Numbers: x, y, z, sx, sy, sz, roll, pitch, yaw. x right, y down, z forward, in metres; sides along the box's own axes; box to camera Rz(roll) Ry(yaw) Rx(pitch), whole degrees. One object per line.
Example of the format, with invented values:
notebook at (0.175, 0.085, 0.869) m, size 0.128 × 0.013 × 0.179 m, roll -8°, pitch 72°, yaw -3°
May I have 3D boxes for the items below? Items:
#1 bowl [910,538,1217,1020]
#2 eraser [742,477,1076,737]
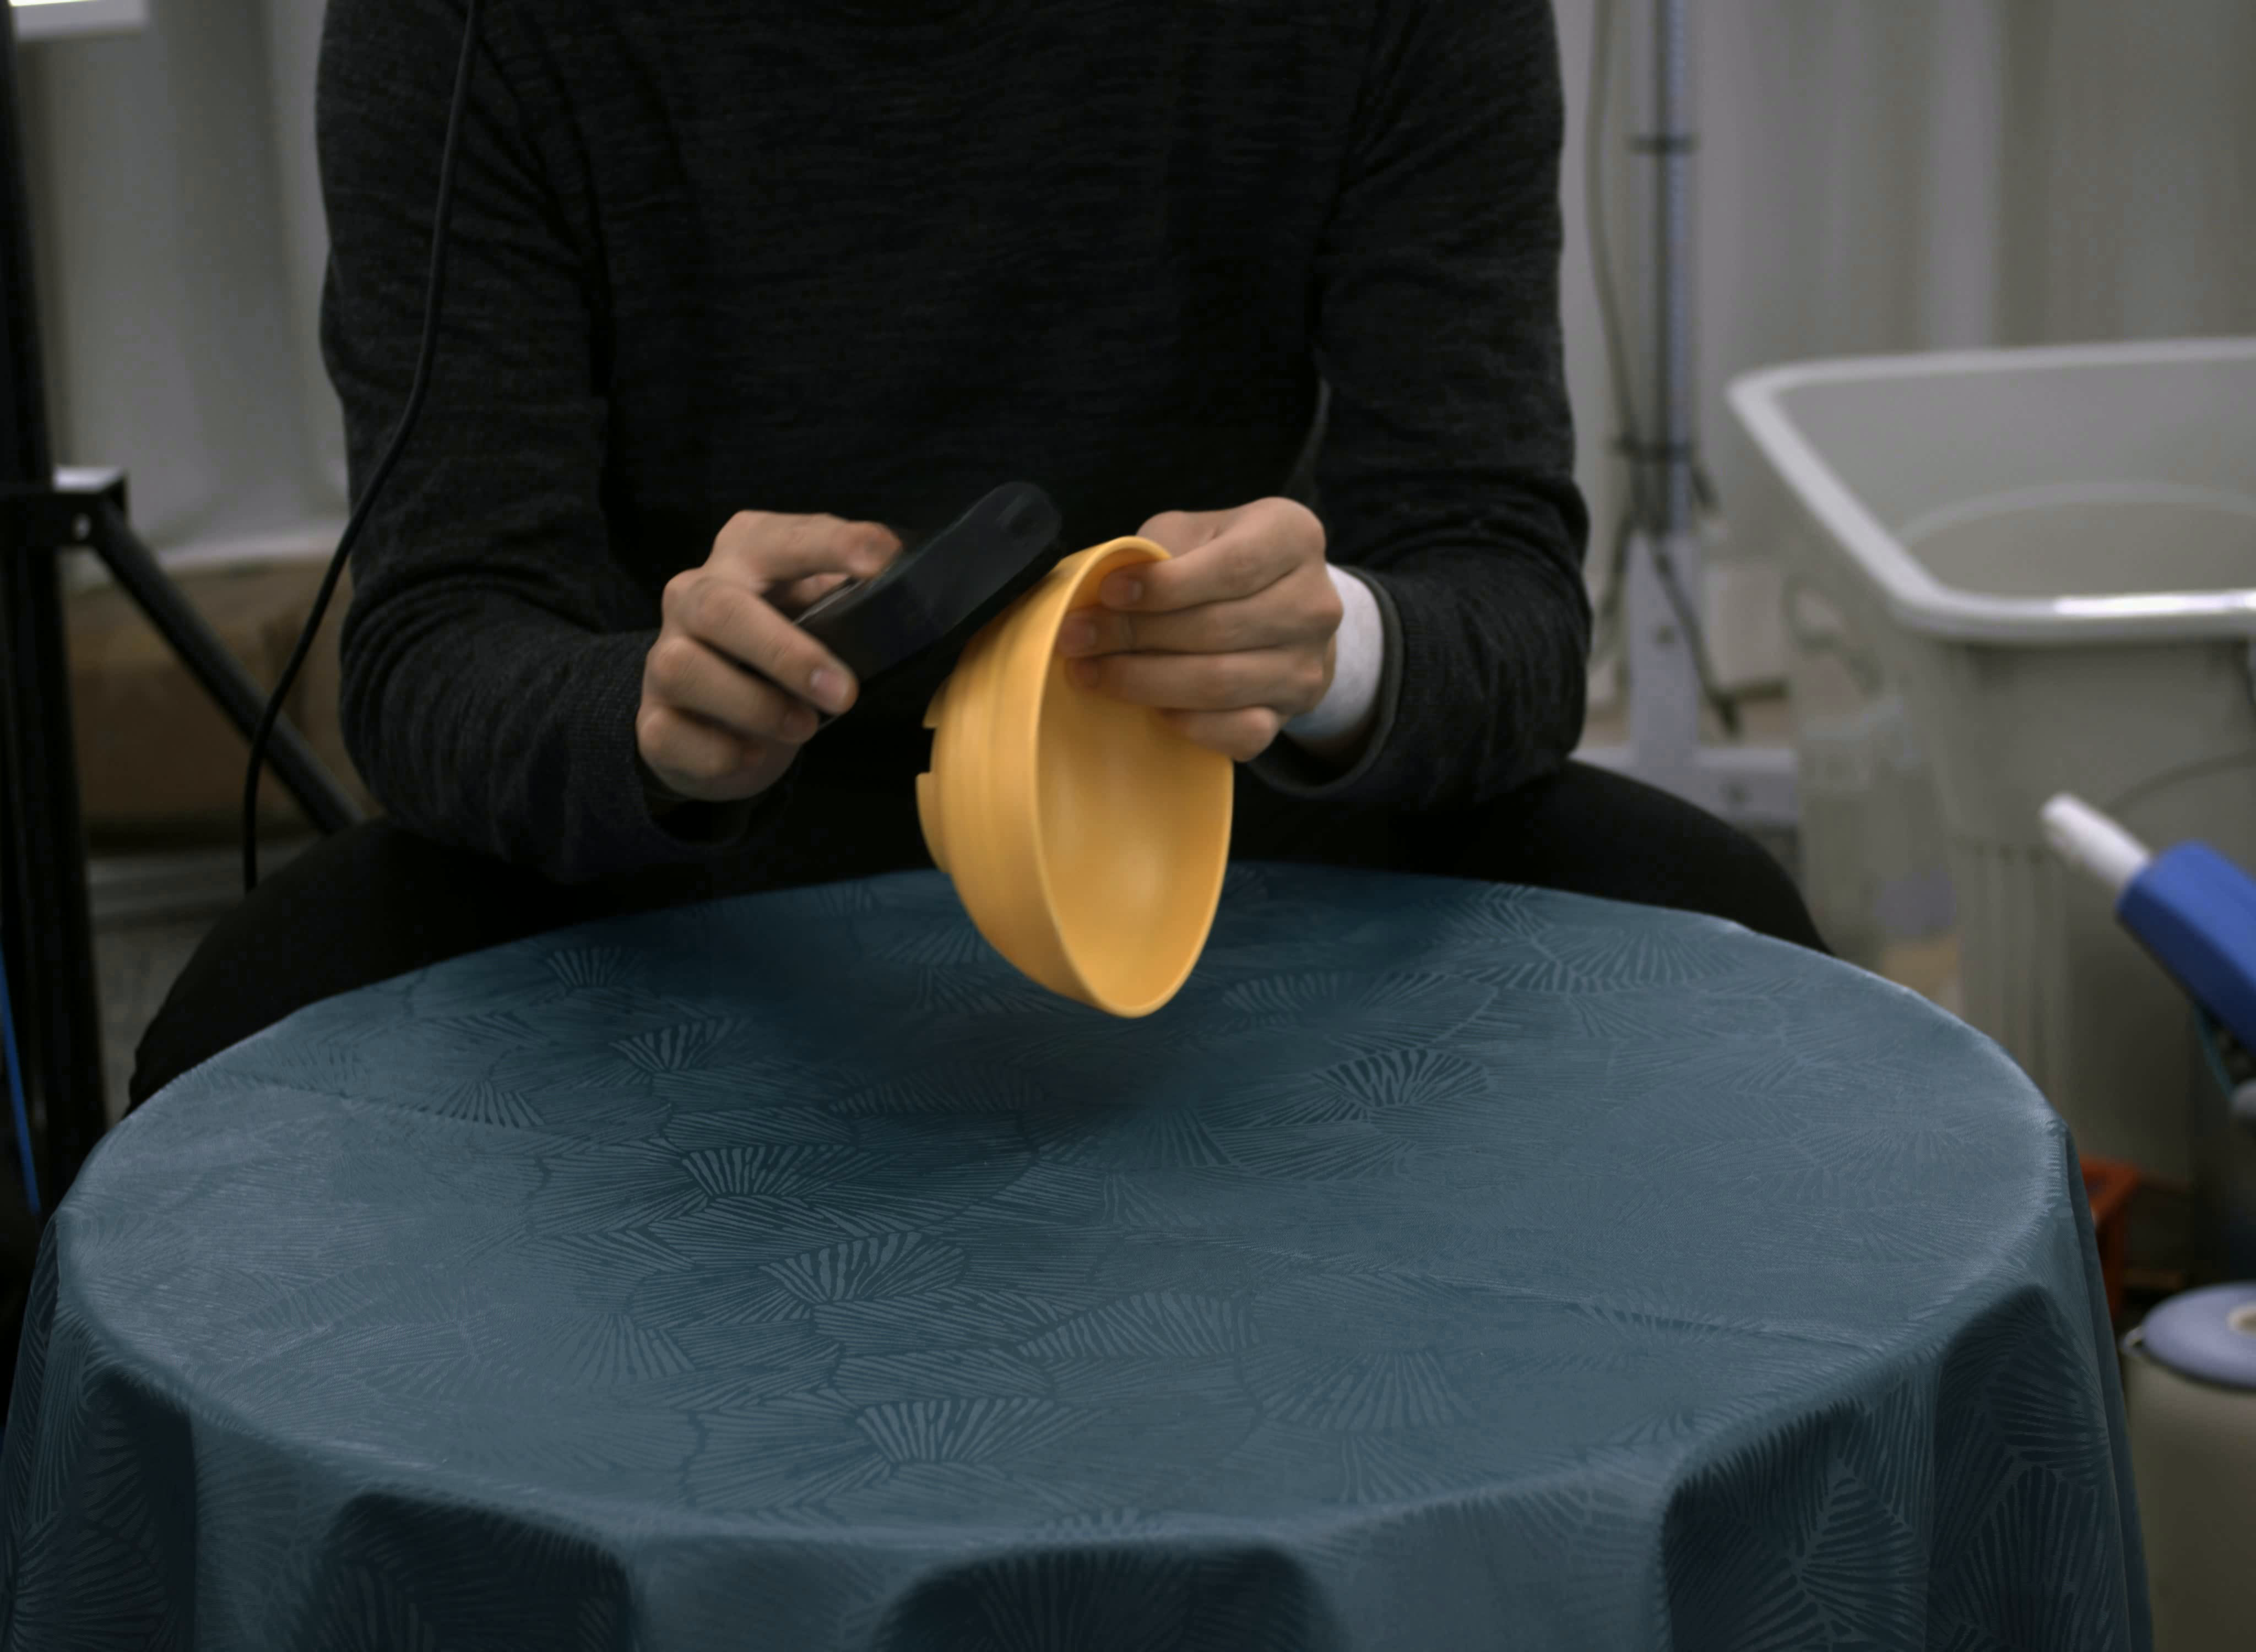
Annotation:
bowl at (-0.026, -0.015, 1.610) m, size 0.061 × 0.145 × 0.143 m, roll 0°, pitch 15°, yaw 25°
eraser at (-0.067, -0.066, 1.605) m, size 0.053 × 0.030 × 0.127 m, roll -37°, pitch 5°, yaw -33°
